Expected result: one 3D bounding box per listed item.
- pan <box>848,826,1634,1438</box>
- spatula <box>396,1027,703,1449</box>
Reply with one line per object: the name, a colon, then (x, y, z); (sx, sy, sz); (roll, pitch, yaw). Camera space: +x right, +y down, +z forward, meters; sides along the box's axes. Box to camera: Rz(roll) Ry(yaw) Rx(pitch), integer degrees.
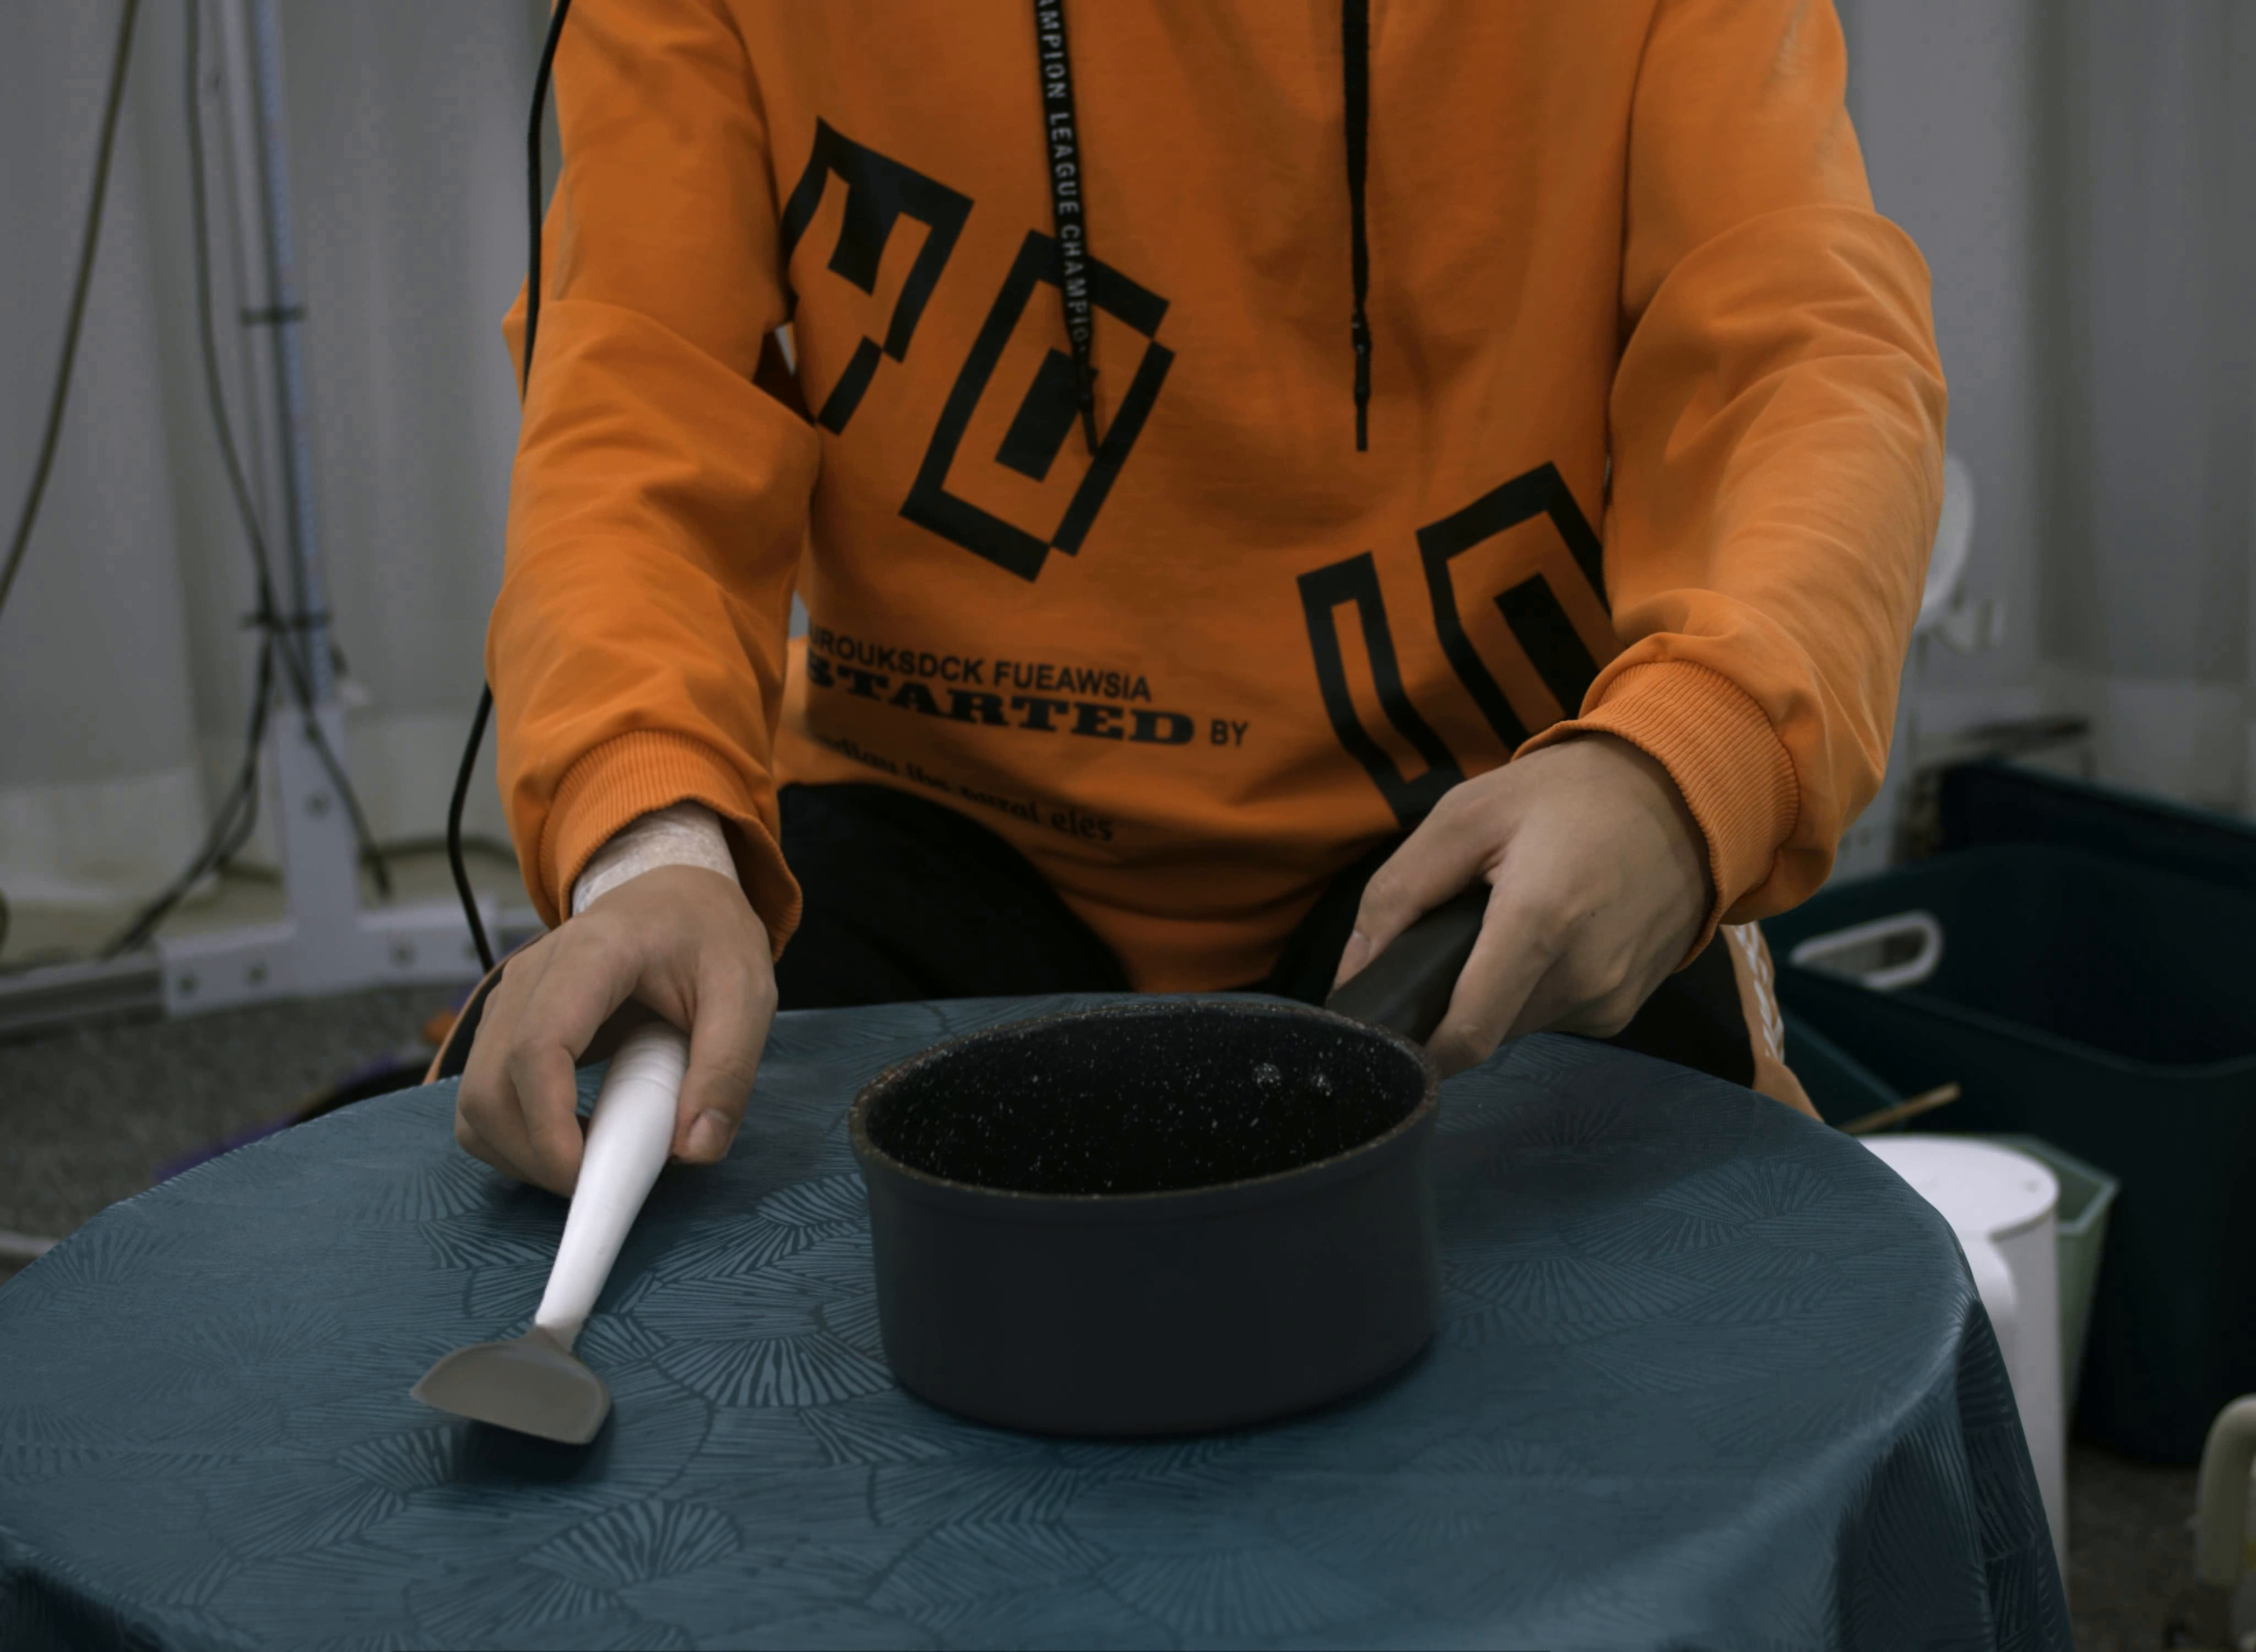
pan: (0.054, 0.087, 1.631); (0.172, 0.086, 0.329); (8, 22, 35)
spatula: (-0.164, 0.126, 1.628); (0.058, 0.032, 0.290); (18, 19, -1)
